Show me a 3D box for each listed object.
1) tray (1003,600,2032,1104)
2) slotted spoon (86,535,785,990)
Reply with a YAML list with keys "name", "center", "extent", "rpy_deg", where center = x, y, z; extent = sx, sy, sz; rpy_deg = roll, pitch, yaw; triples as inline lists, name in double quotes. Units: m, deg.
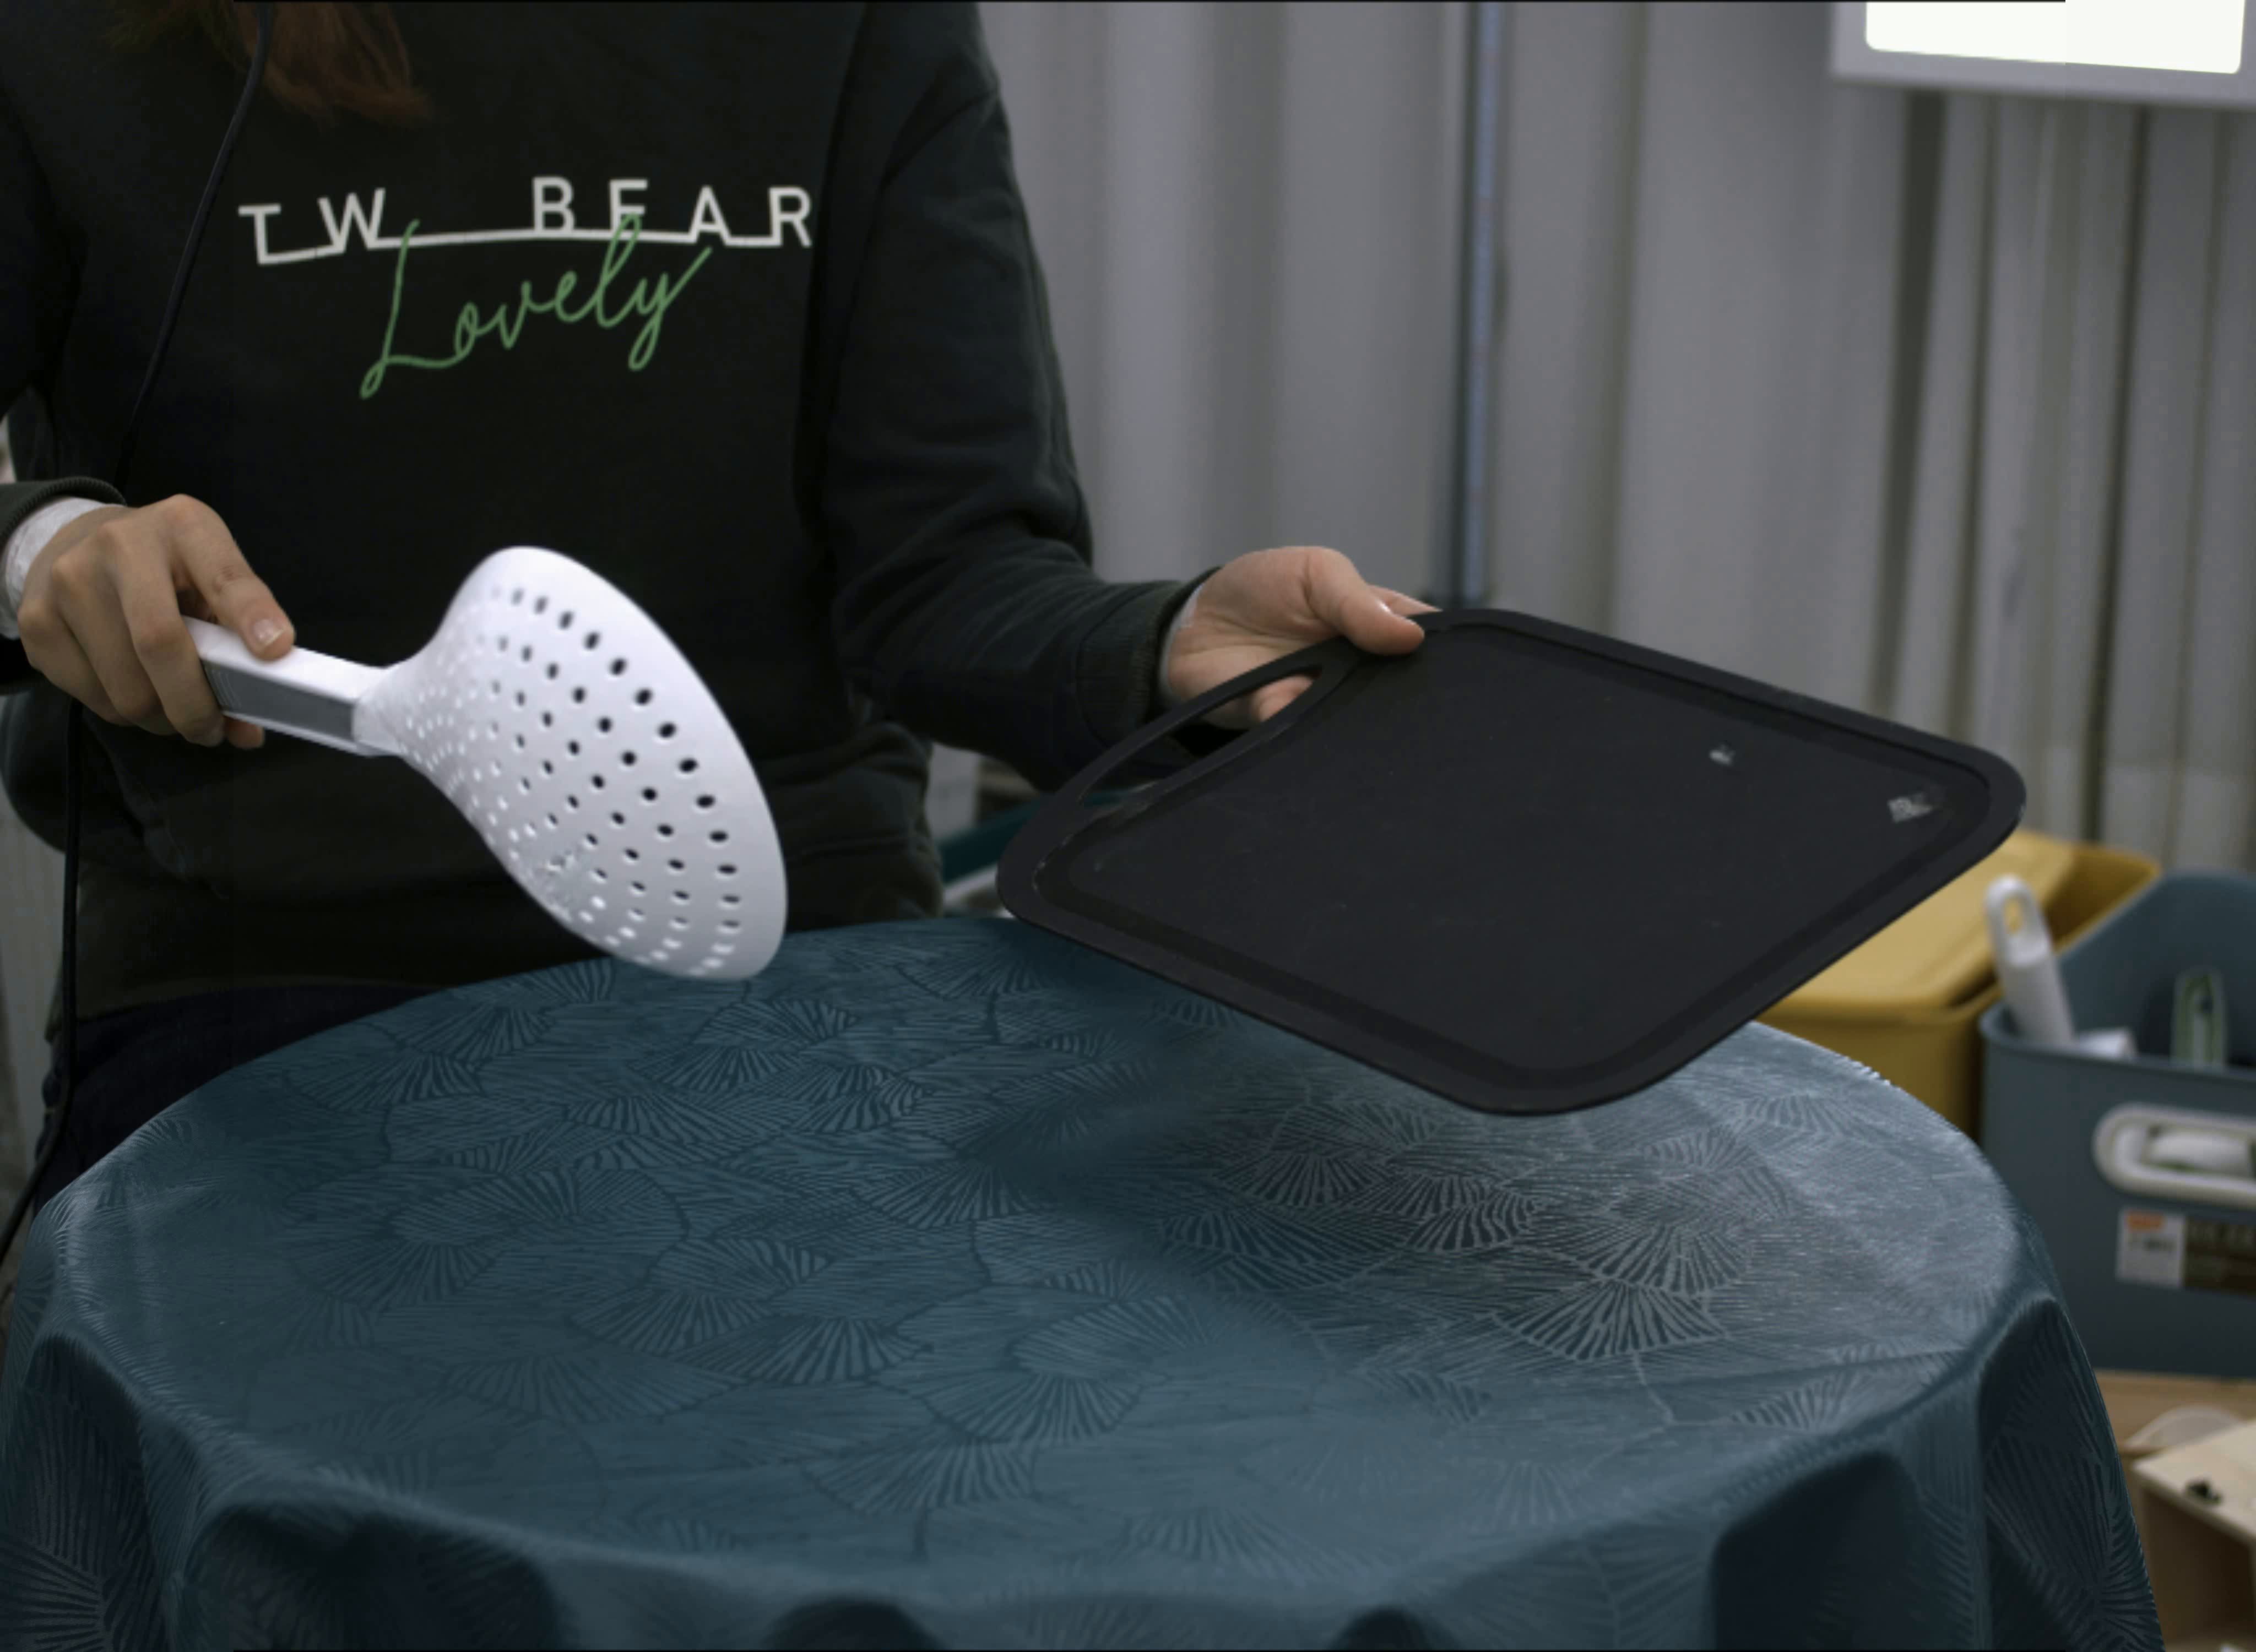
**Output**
- name: "tray"
  center: [0.106, -0.001, 1.604]
  extent: [0.211, 0.010, 0.321]
  rpy_deg: [-32, 30, -26]
- name: "slotted spoon"
  center: [-0.211, -0.032, 1.526]
  extent: [0.046, 0.137, 0.345]
  rpy_deg: [-27, 26, -28]
